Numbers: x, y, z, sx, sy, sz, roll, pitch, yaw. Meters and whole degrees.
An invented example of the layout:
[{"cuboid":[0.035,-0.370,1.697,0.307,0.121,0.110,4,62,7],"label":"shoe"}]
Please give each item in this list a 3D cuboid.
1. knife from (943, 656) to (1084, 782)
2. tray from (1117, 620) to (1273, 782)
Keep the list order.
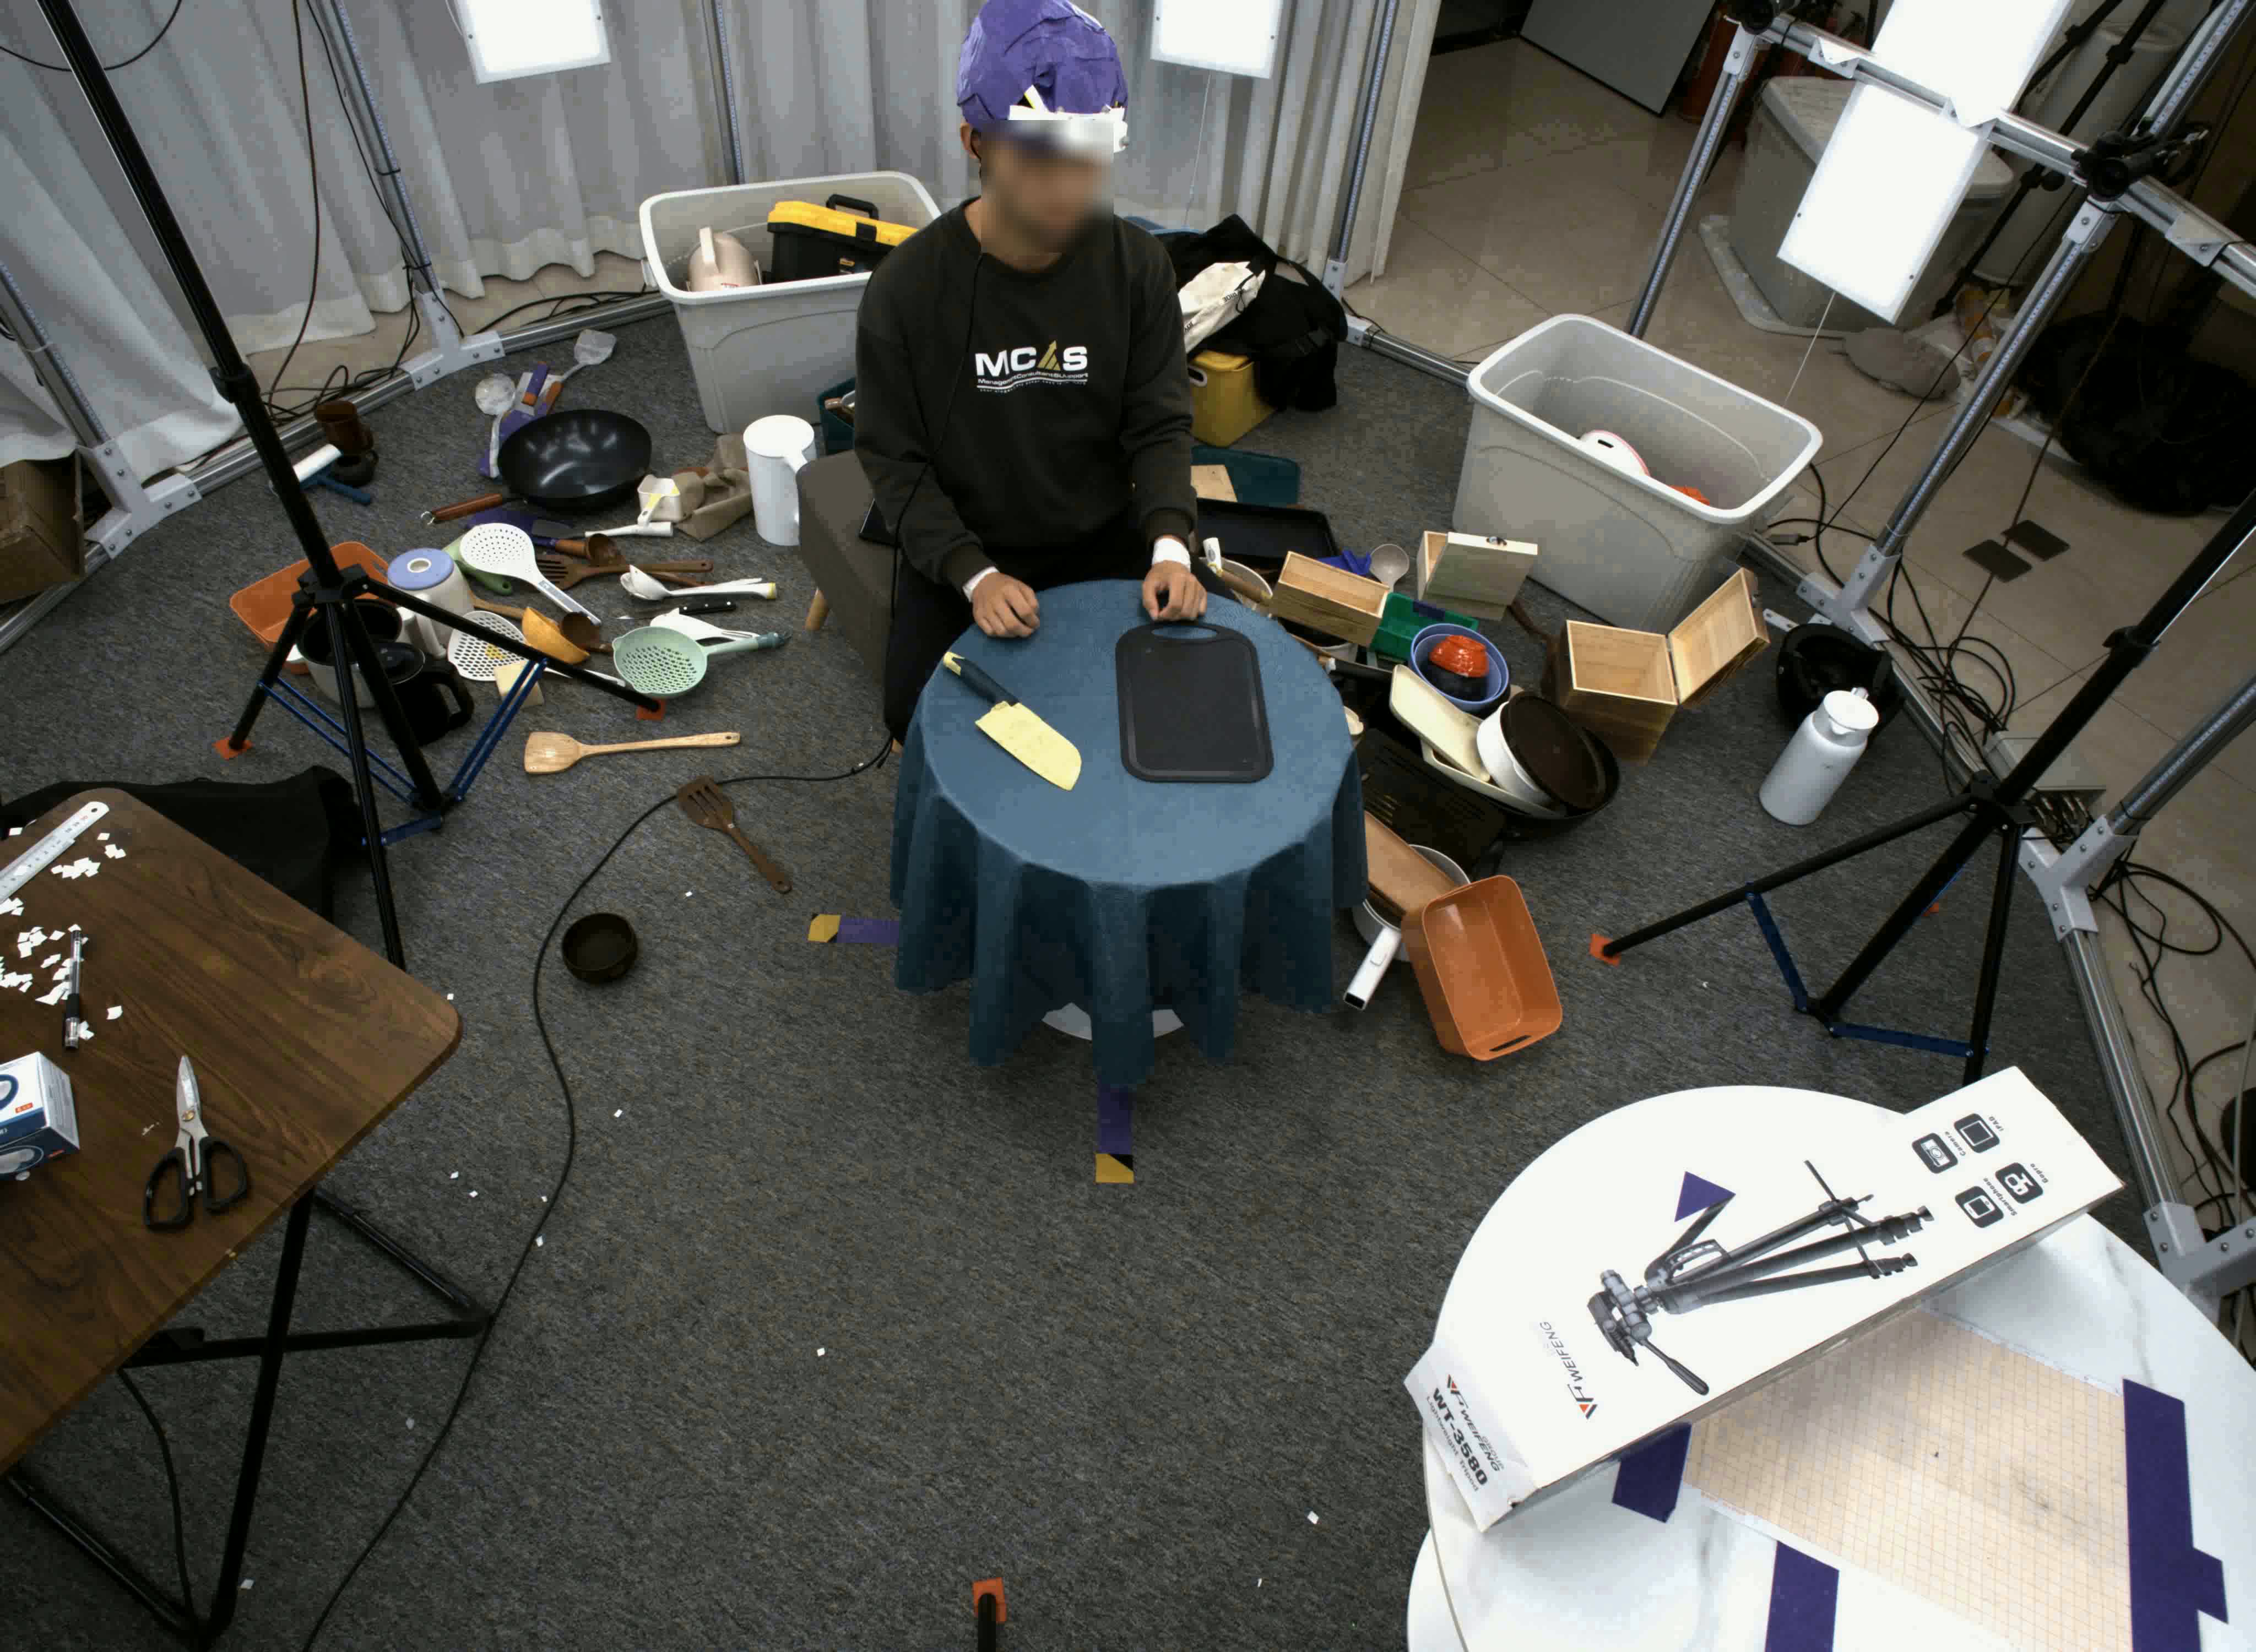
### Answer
[{"cuboid":[-0.167,-0.147,1.774,0.082,0.026,0.294,-33,60,-30],"label":"knife"},{"cuboid":[0.091,-0.186,1.830,0.211,0.009,0.333,1,49,-3],"label":"tray"}]
